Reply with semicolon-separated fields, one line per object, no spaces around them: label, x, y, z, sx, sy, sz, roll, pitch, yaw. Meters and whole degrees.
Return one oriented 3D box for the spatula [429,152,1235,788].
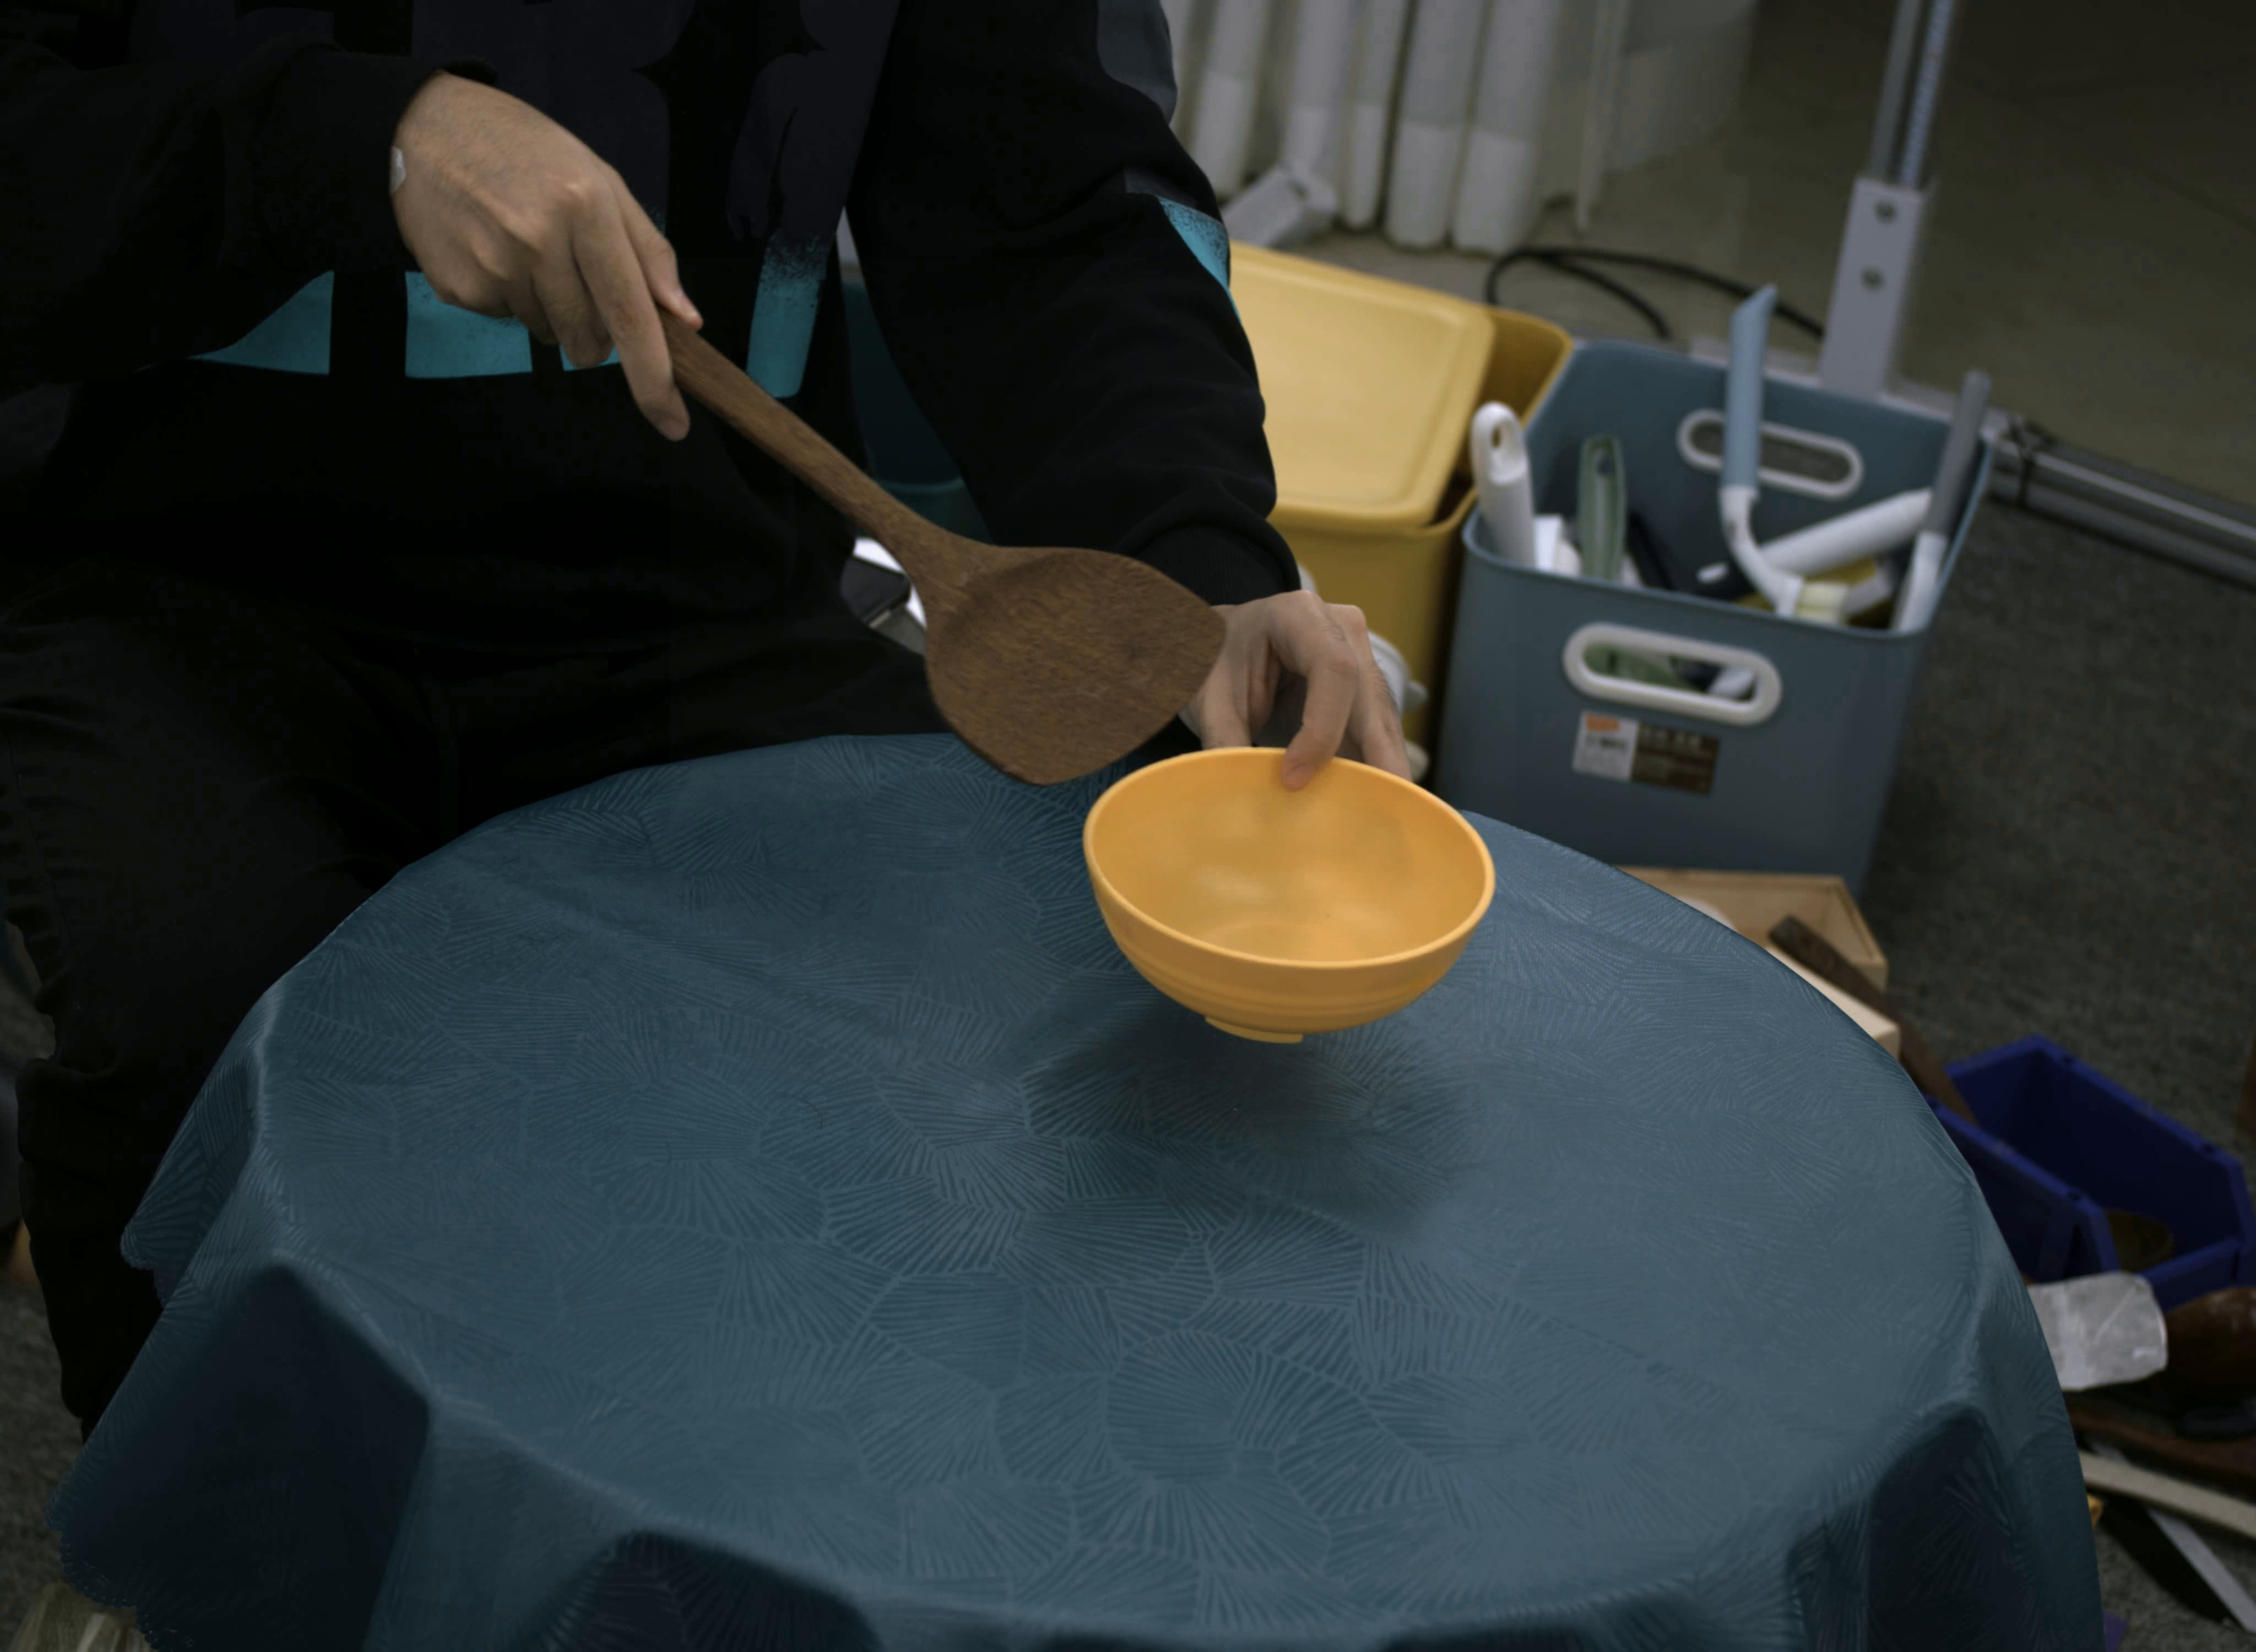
spatula;-0.120;-0.138;1.870;0.096;0.015;0.389;-42;61;-18

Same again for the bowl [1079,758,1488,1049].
bowl;0.051;0.036;1.865;0.145;0.060;0.146;6;28;-3
